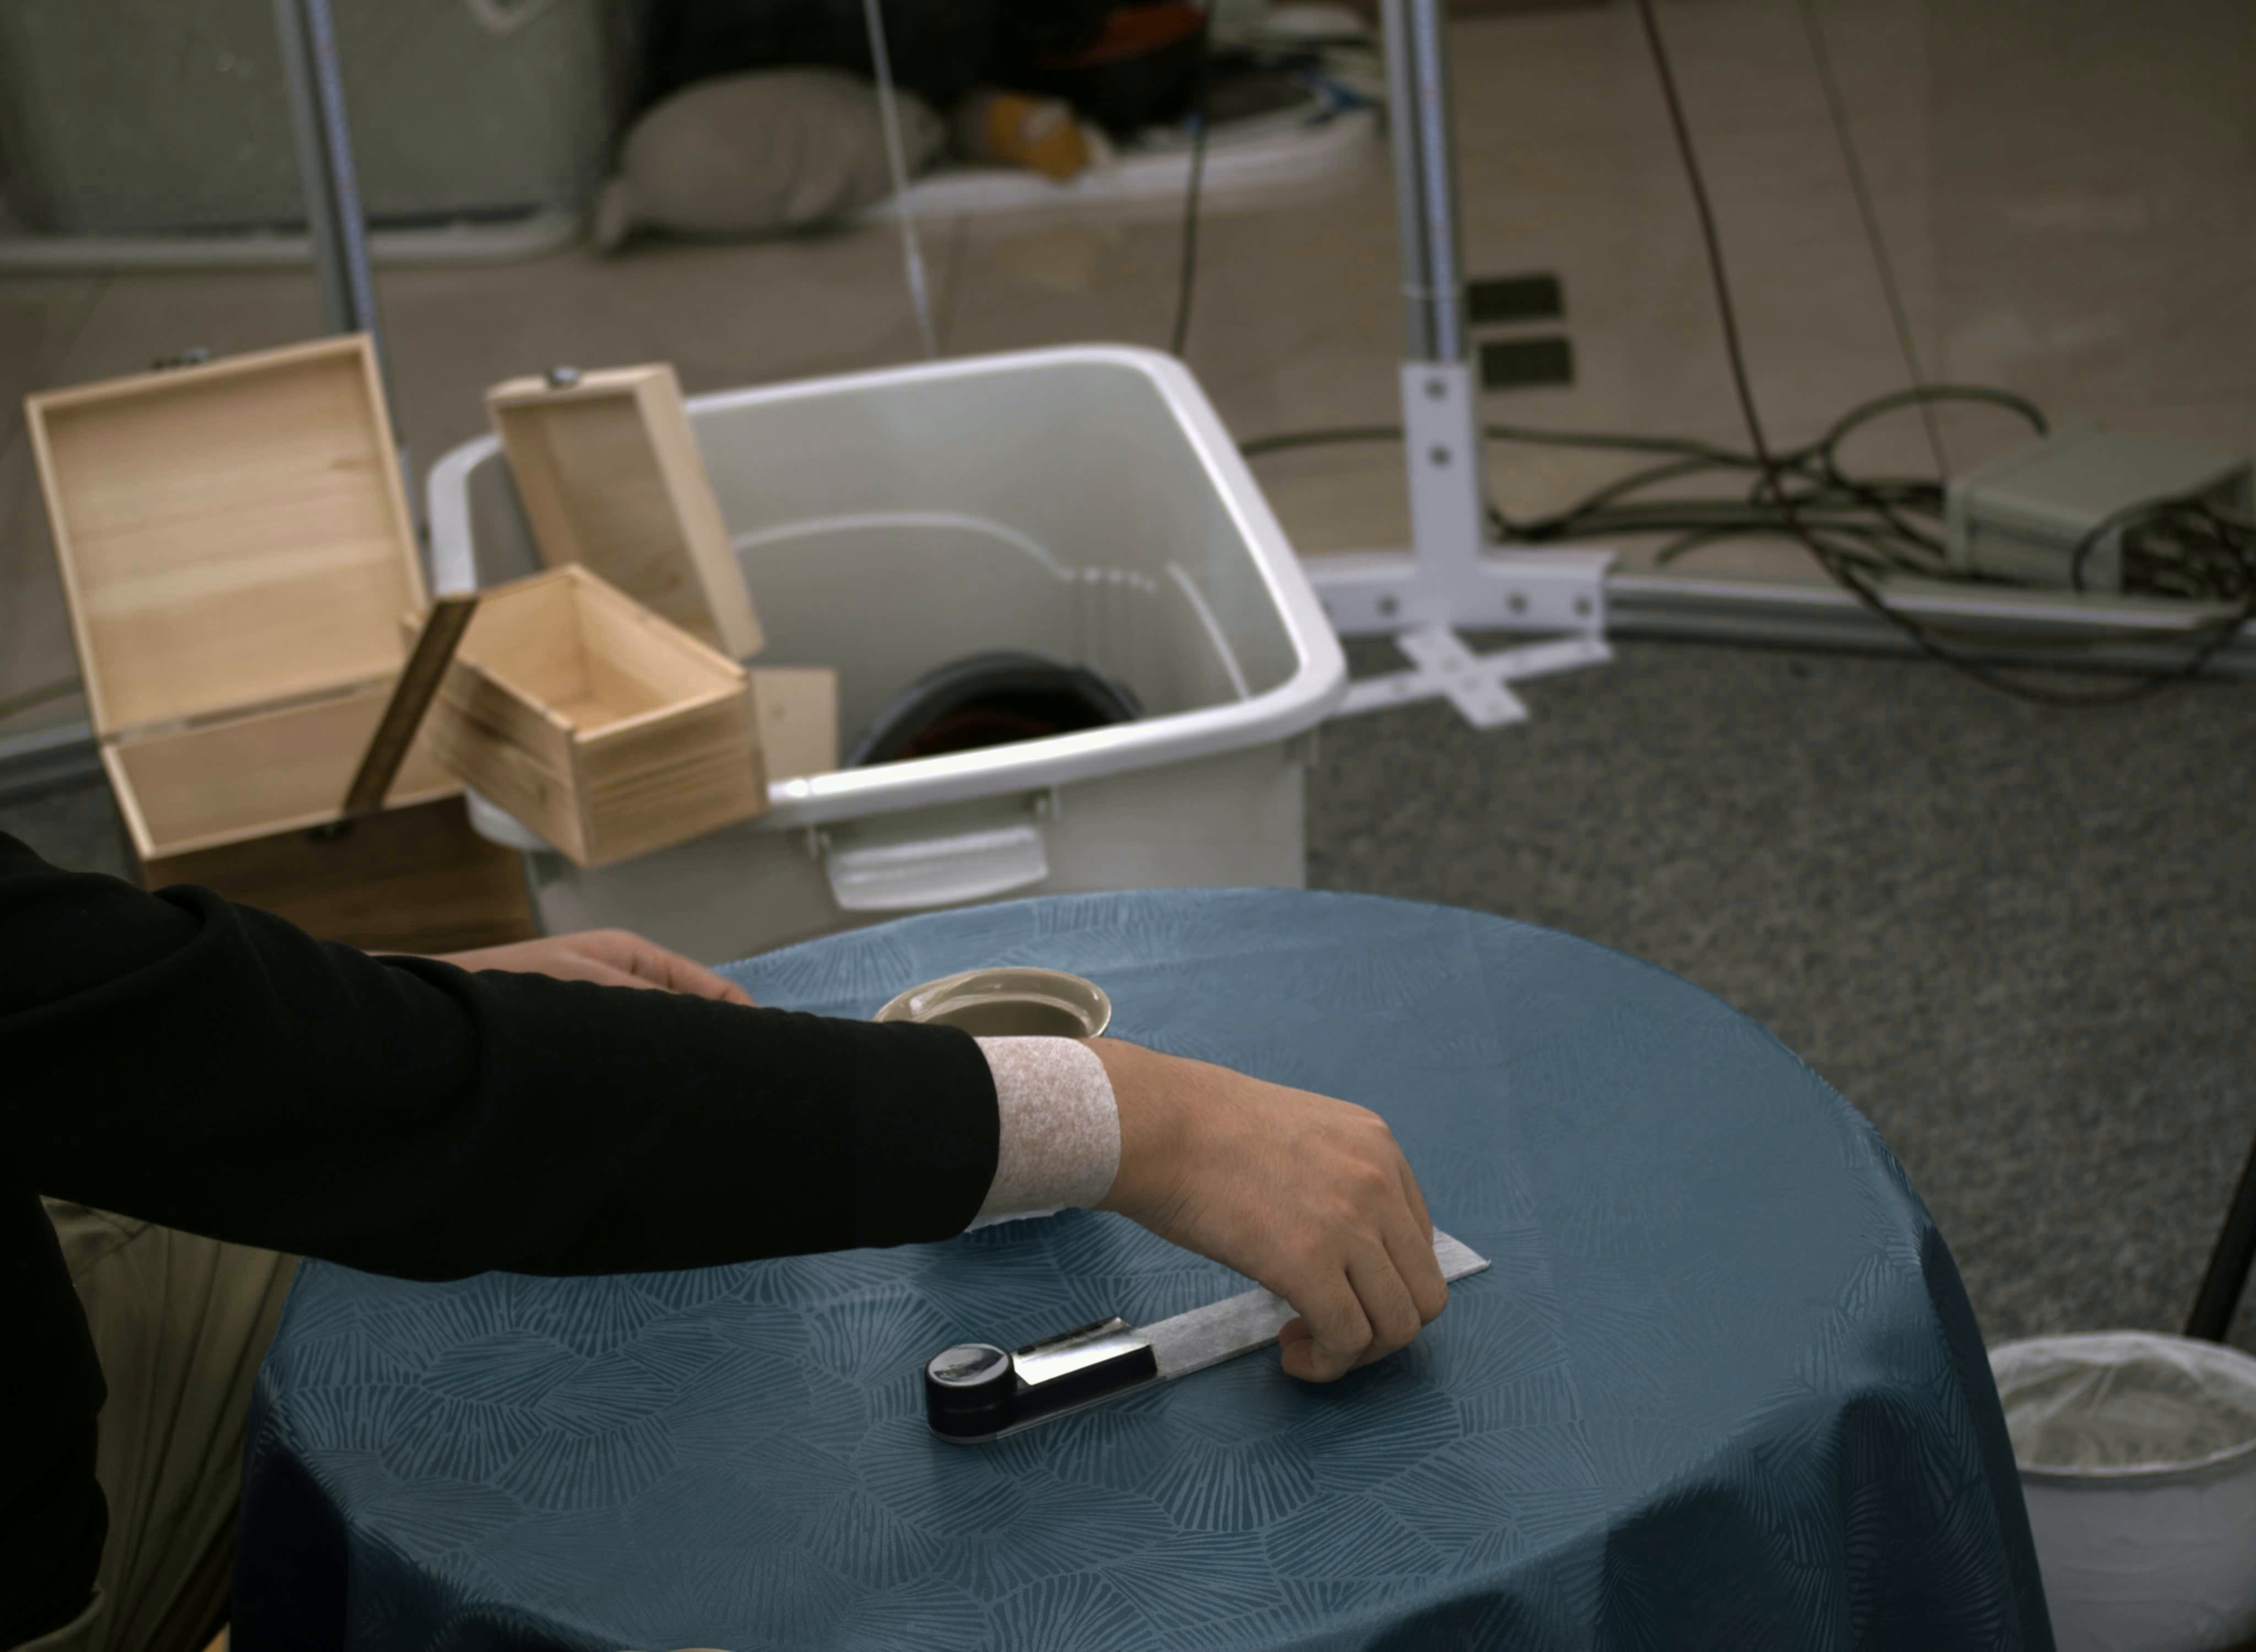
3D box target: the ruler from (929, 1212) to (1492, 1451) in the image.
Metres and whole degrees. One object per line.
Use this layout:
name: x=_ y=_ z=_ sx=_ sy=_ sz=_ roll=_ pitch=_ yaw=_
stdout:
ruler: x=0.028 y=0.175 z=2.037 sx=0.217 sy=0.024 sz=0.038 roll=-18 pitch=36 yaw=-20

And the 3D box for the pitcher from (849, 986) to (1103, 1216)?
pitcher: x=-0.054 y=0.106 z=2.146 sx=0.096 sy=0.072 sz=0.082 roll=-7 pitch=26 yaw=-2
